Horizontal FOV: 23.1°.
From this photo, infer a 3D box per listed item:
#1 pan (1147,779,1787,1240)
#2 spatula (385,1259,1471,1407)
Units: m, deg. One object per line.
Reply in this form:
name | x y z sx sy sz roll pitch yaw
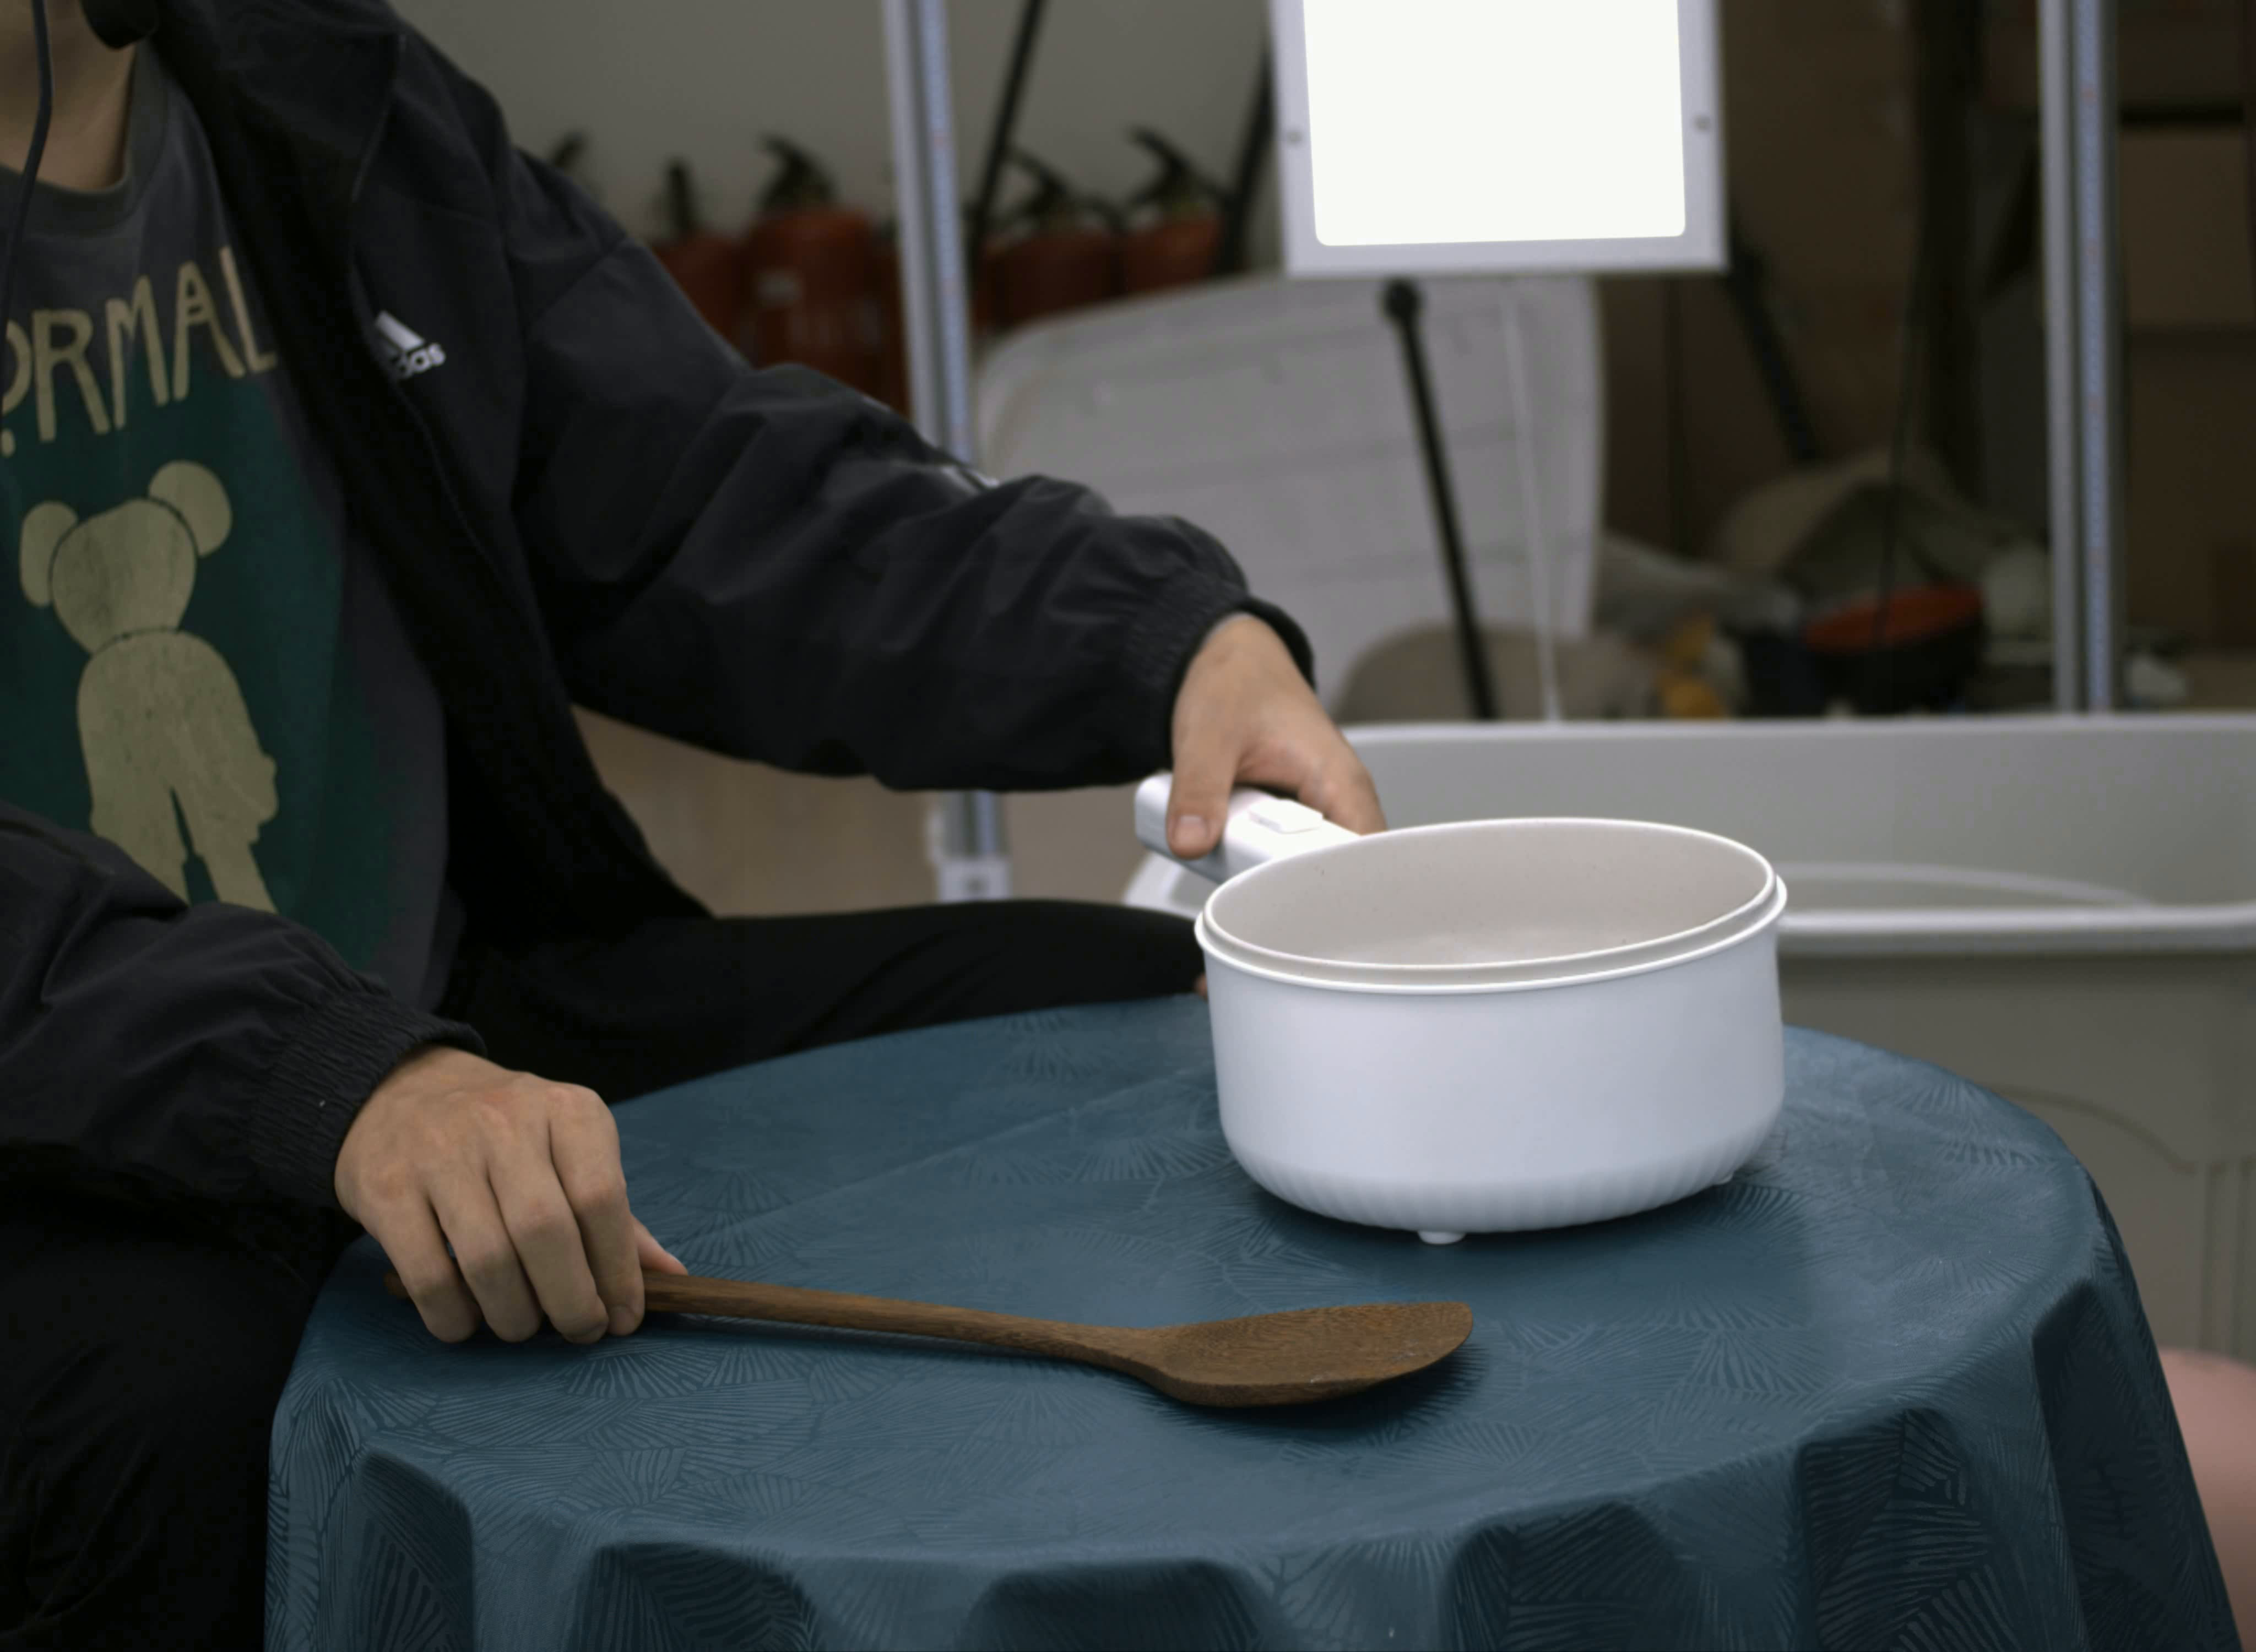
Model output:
pan | 0.096 0.058 1.940 0.197 0.102 0.360 -11 13 -21
spatula | -0.075 0.158 1.762 0.393 0.016 0.094 2 12 28
